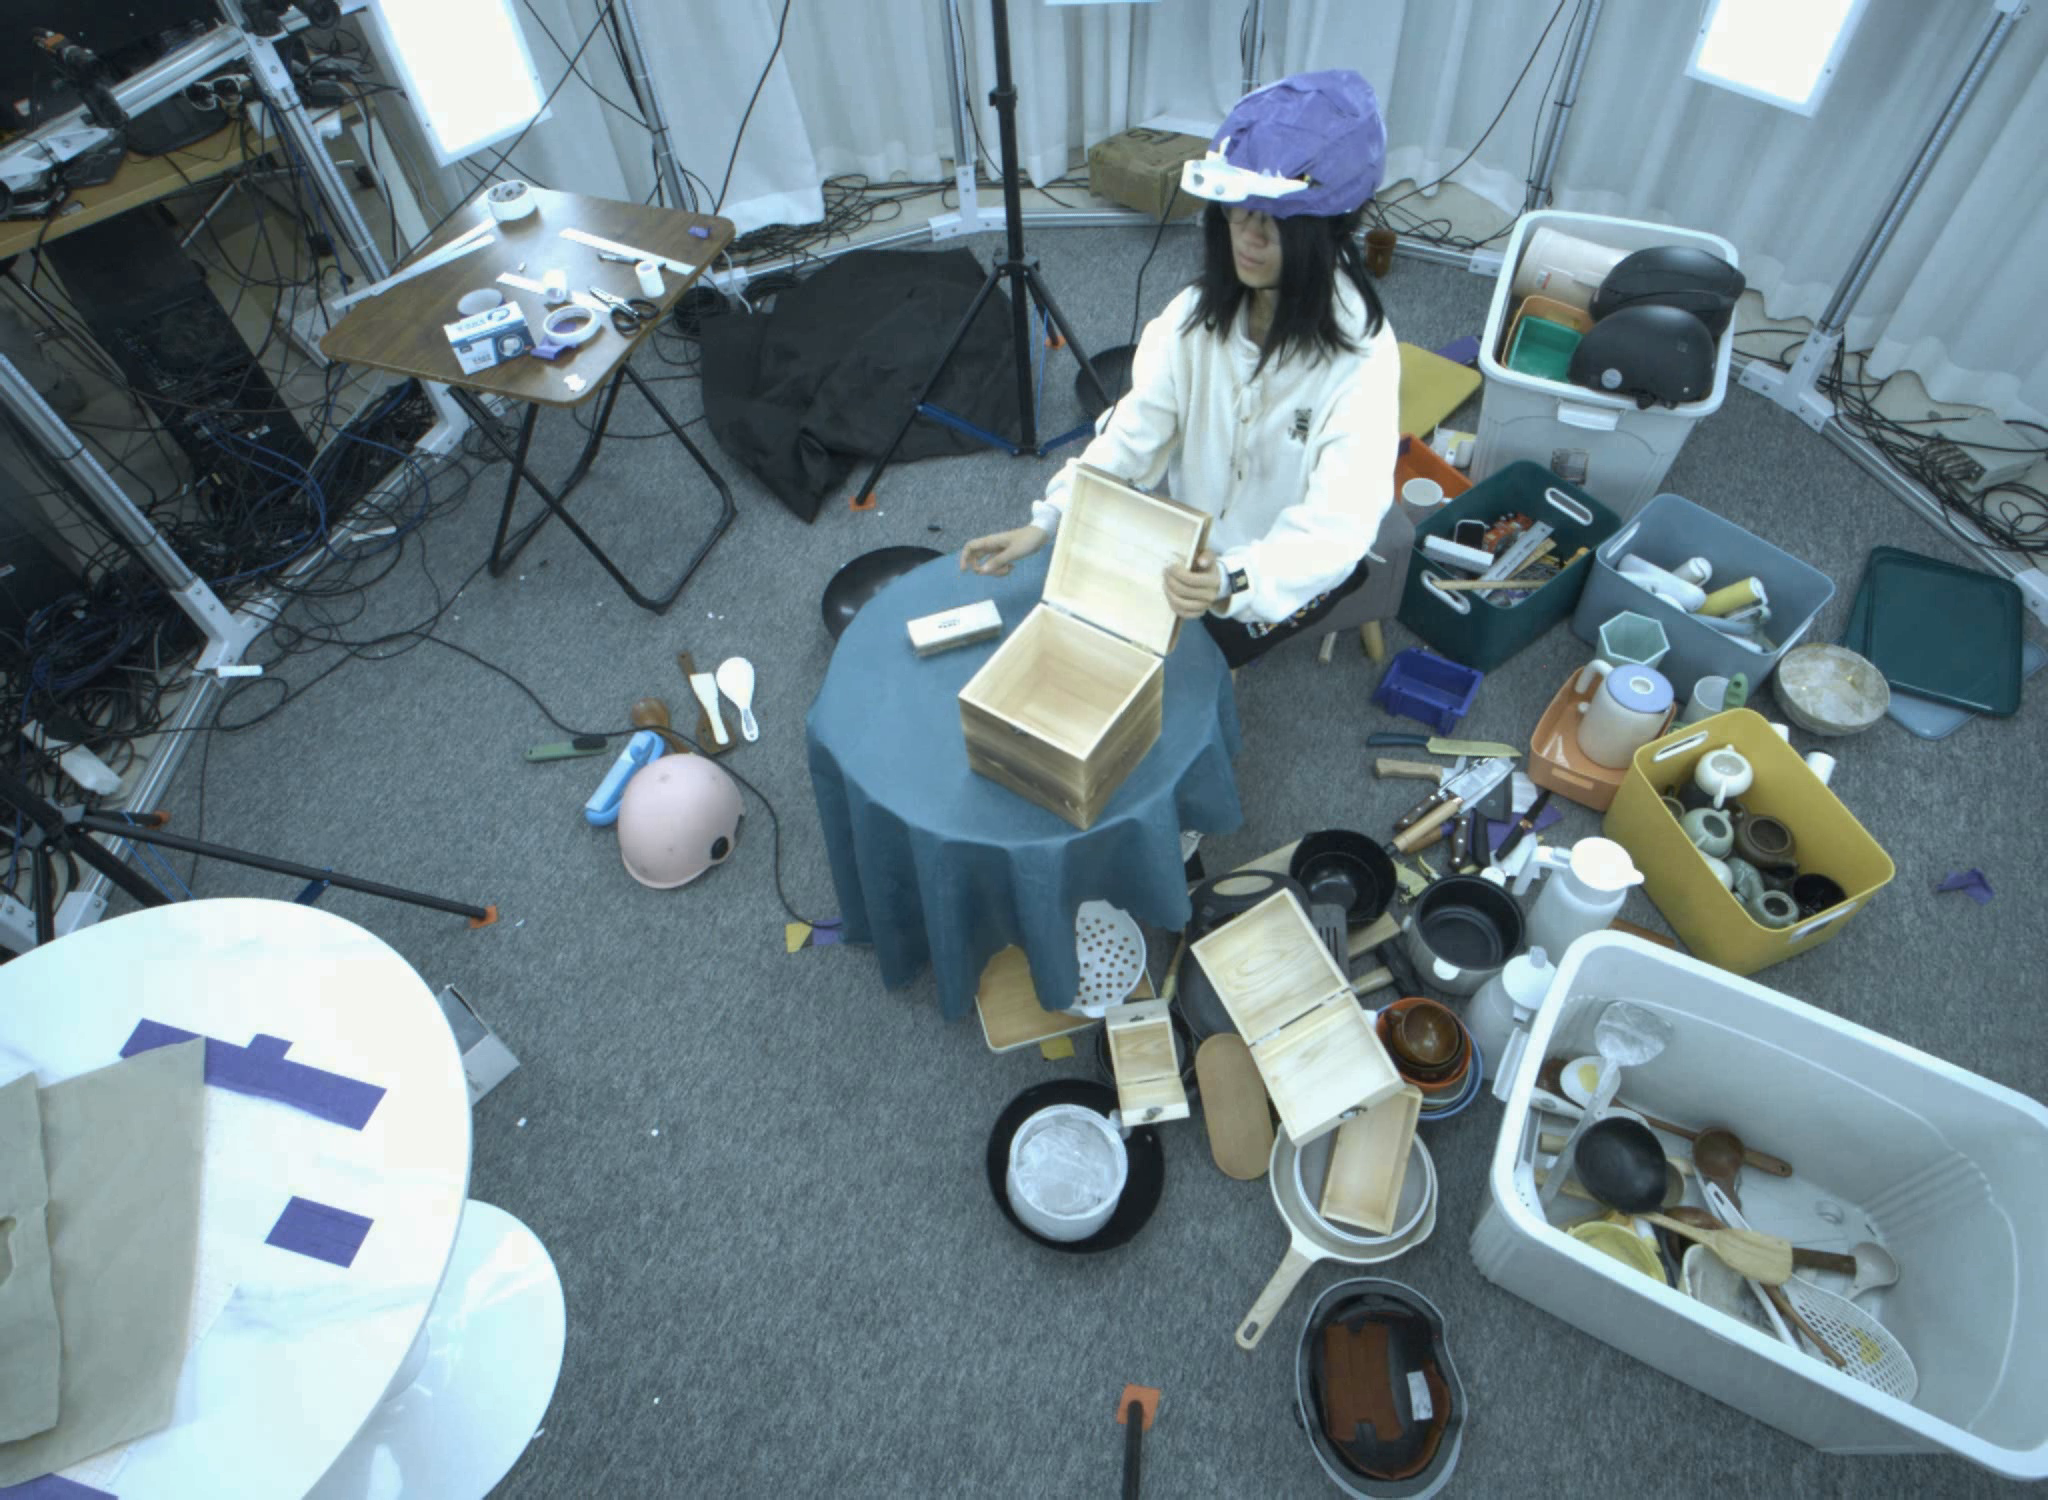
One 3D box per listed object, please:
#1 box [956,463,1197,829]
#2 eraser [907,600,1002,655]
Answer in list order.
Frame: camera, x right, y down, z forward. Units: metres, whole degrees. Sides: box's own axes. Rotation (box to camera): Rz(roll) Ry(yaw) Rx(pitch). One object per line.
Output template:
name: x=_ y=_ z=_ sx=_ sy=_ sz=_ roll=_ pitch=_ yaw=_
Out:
box: x=0.074 y=-0.141 z=1.659 sx=0.205 sy=0.380 sz=0.323 roll=26 pitch=61 yaw=22
eraser: x=-0.108 y=-0.190 z=1.908 sx=0.140 sy=0.029 sz=0.056 roll=-14 pitch=53 yaw=-9
